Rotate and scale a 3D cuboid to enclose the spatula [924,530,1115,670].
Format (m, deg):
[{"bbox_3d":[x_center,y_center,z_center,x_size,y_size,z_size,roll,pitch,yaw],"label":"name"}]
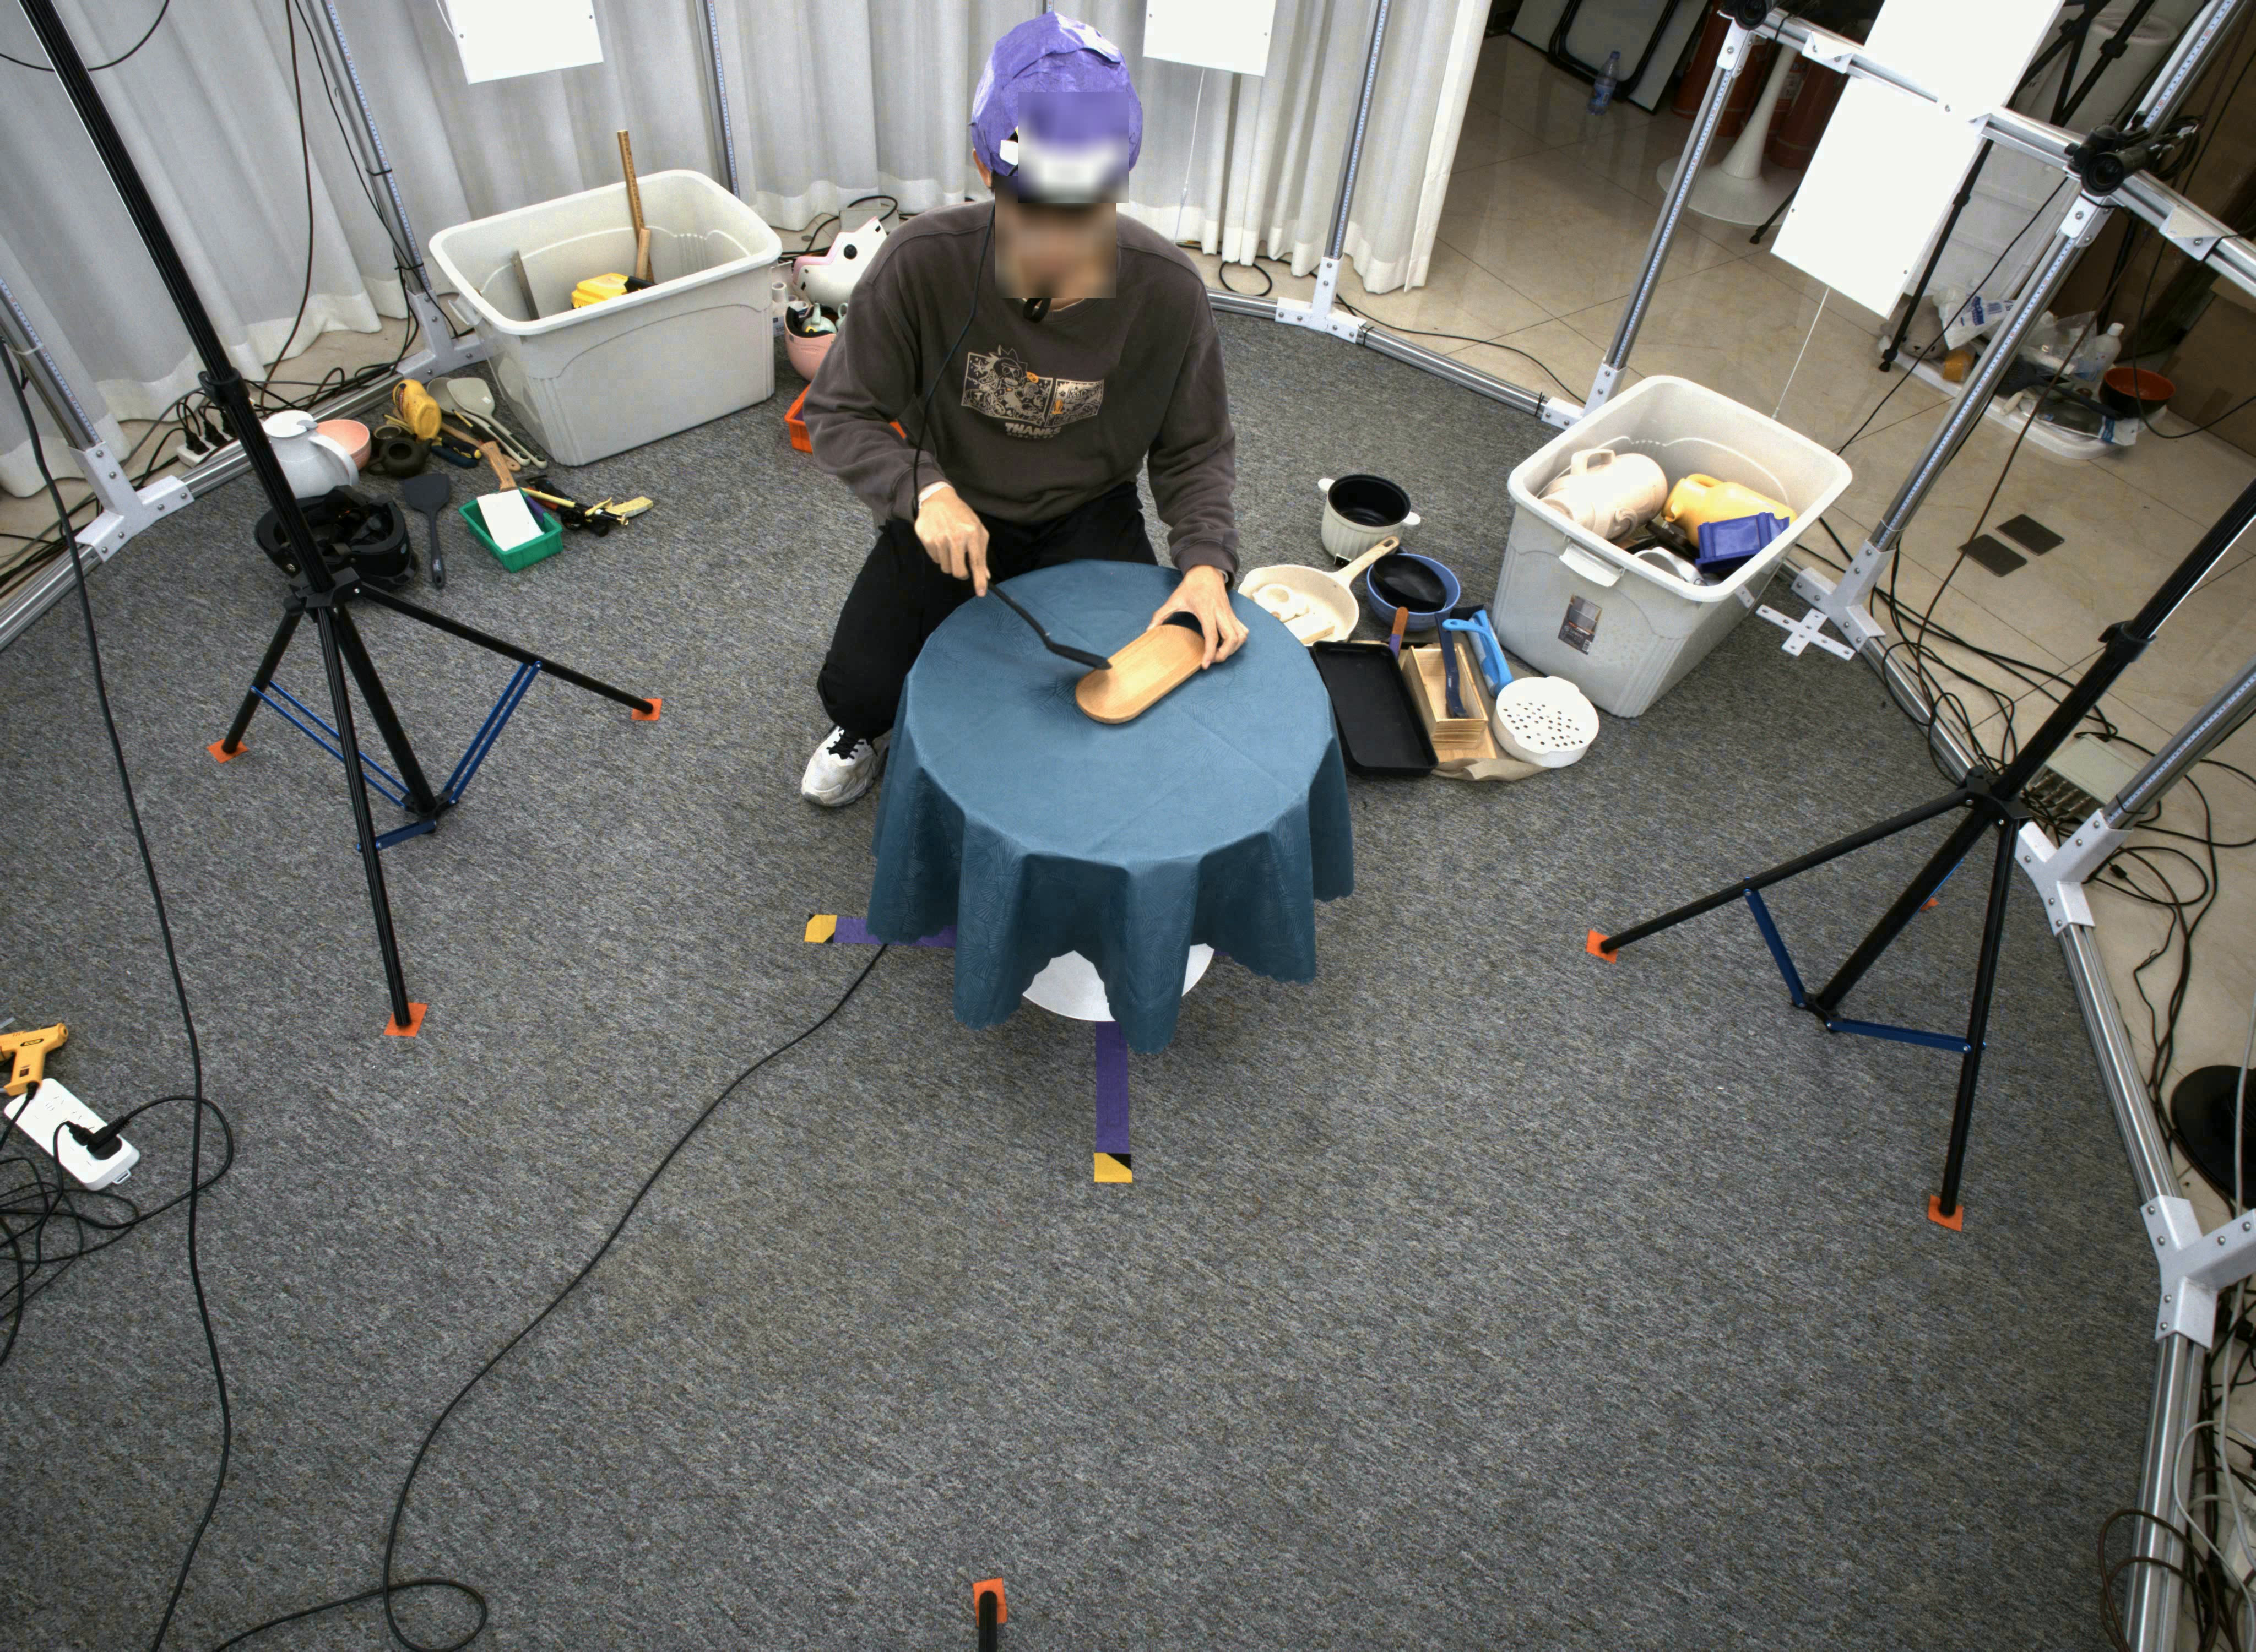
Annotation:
[{"bbox_3d":[-0.154,-0.315,1.801,0.326,0.040,0.100,42,11,2],"label":"spatula"}]

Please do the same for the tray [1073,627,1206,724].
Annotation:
[{"bbox_3d":[0.018,-0.218,1.846,0.103,0.020,0.233,36,57,26],"label":"tray"}]
